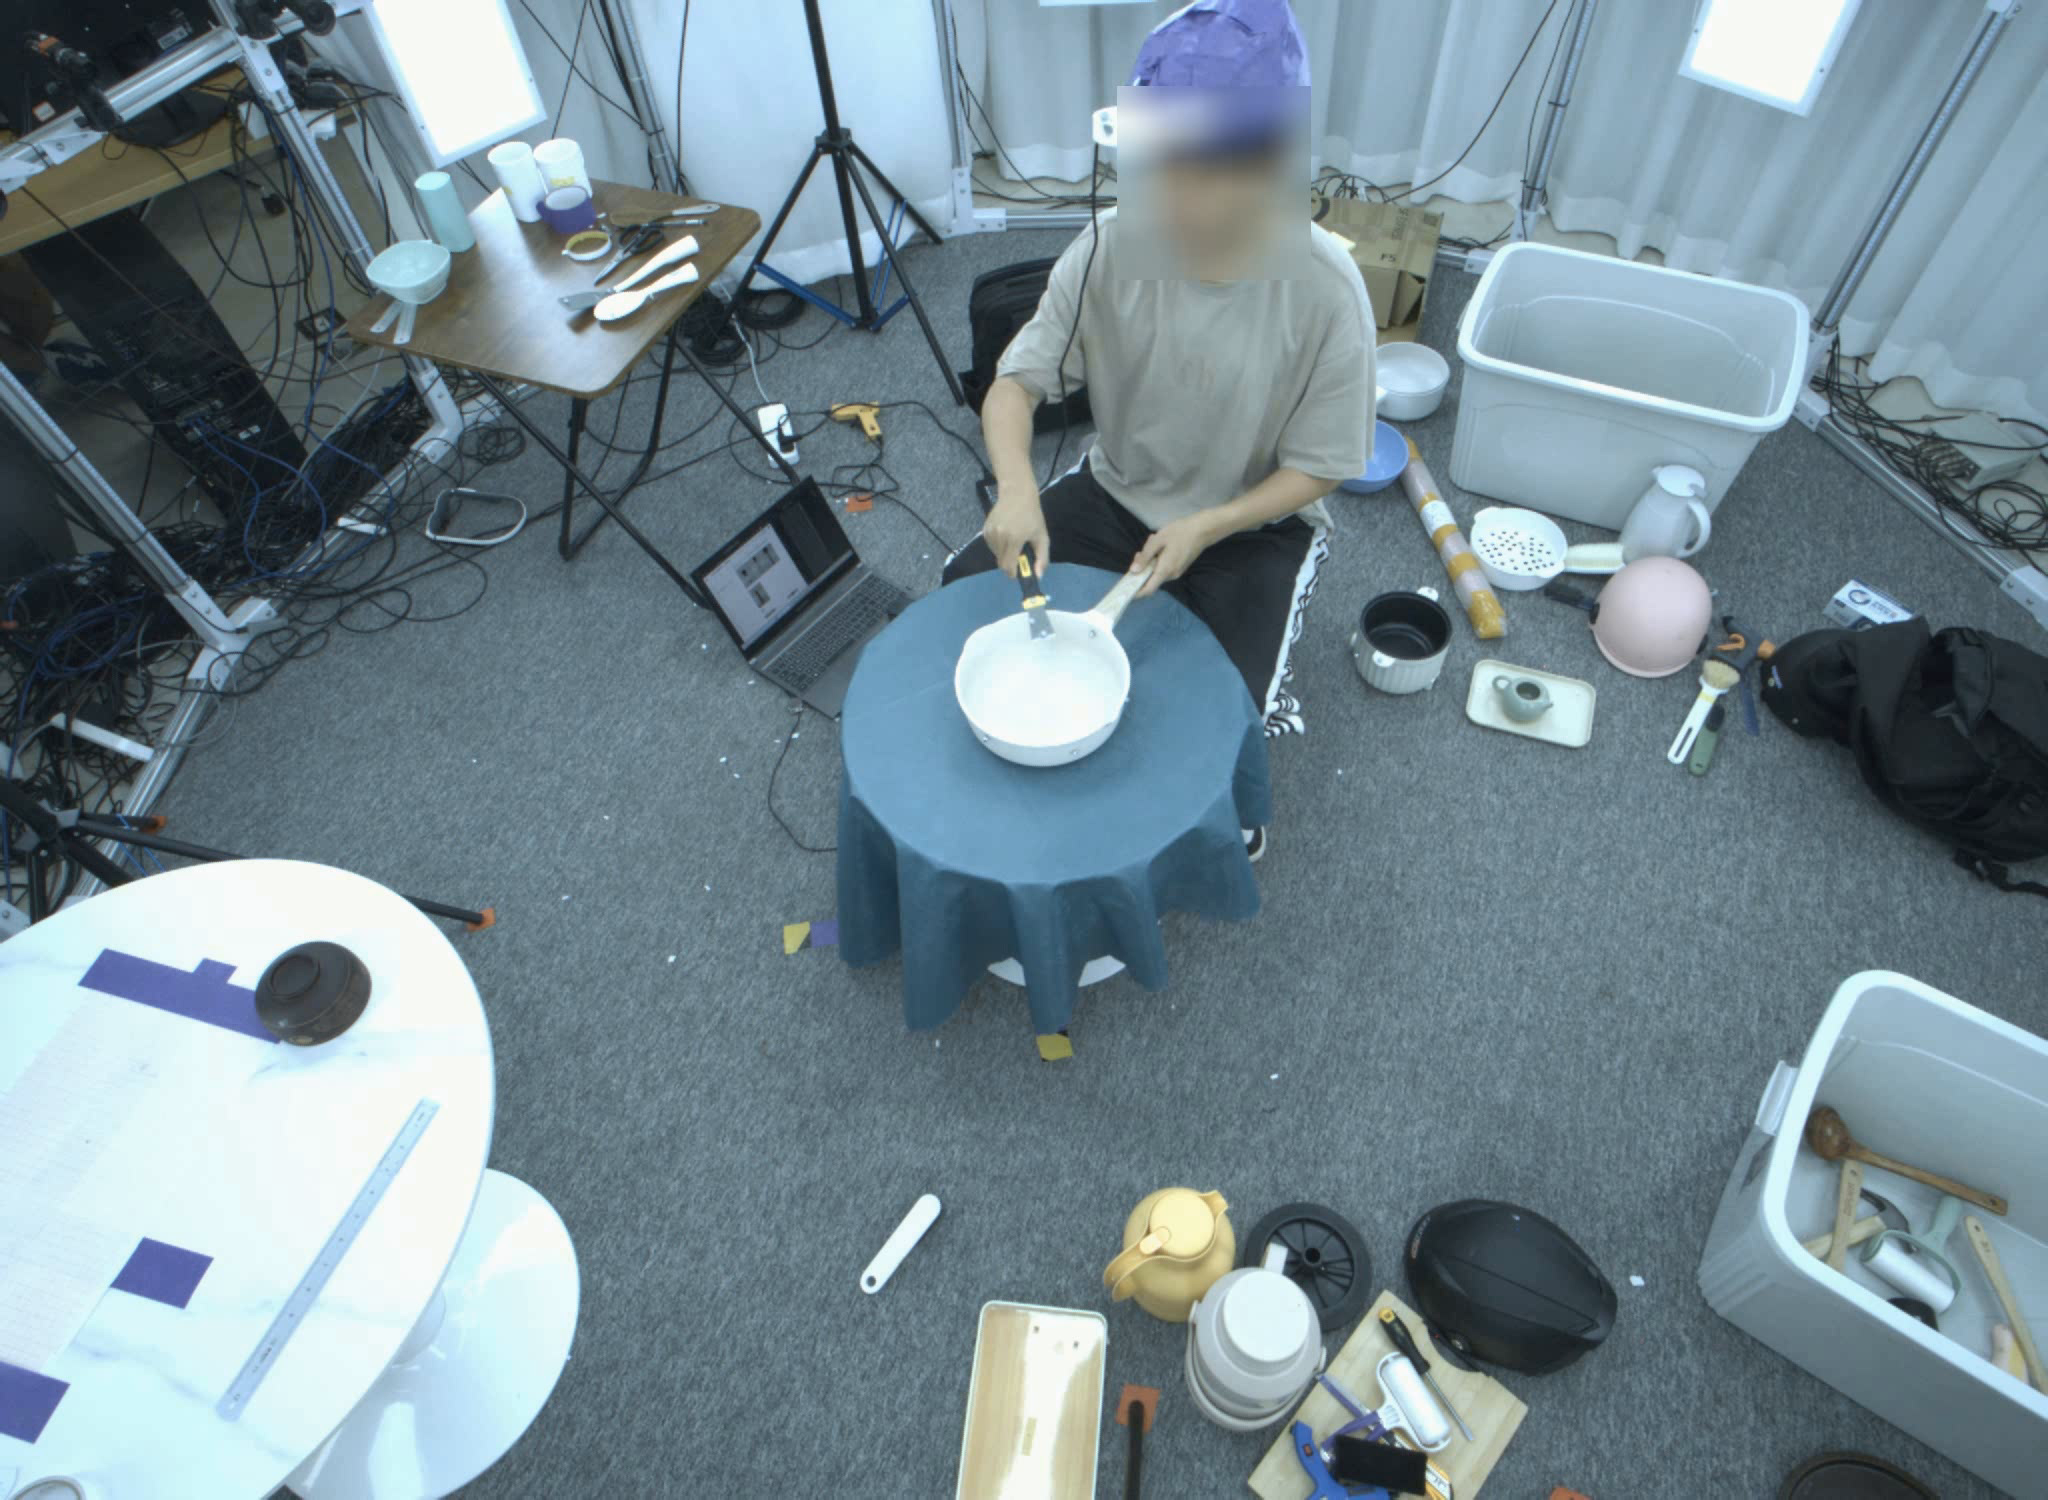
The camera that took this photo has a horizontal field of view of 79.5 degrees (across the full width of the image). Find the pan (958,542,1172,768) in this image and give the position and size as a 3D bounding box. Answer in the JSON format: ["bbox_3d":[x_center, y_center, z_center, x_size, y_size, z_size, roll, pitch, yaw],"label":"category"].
[{"bbox_3d":[0.091,-0.145,1.826,0.258,0.103,0.437,31,61,25],"label":"pan"}]

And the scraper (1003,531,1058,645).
[{"bbox_3d":[0.005,-0.227,1.705,0.038,0.015,0.169,-19,77,7],"label":"scraper"}]
